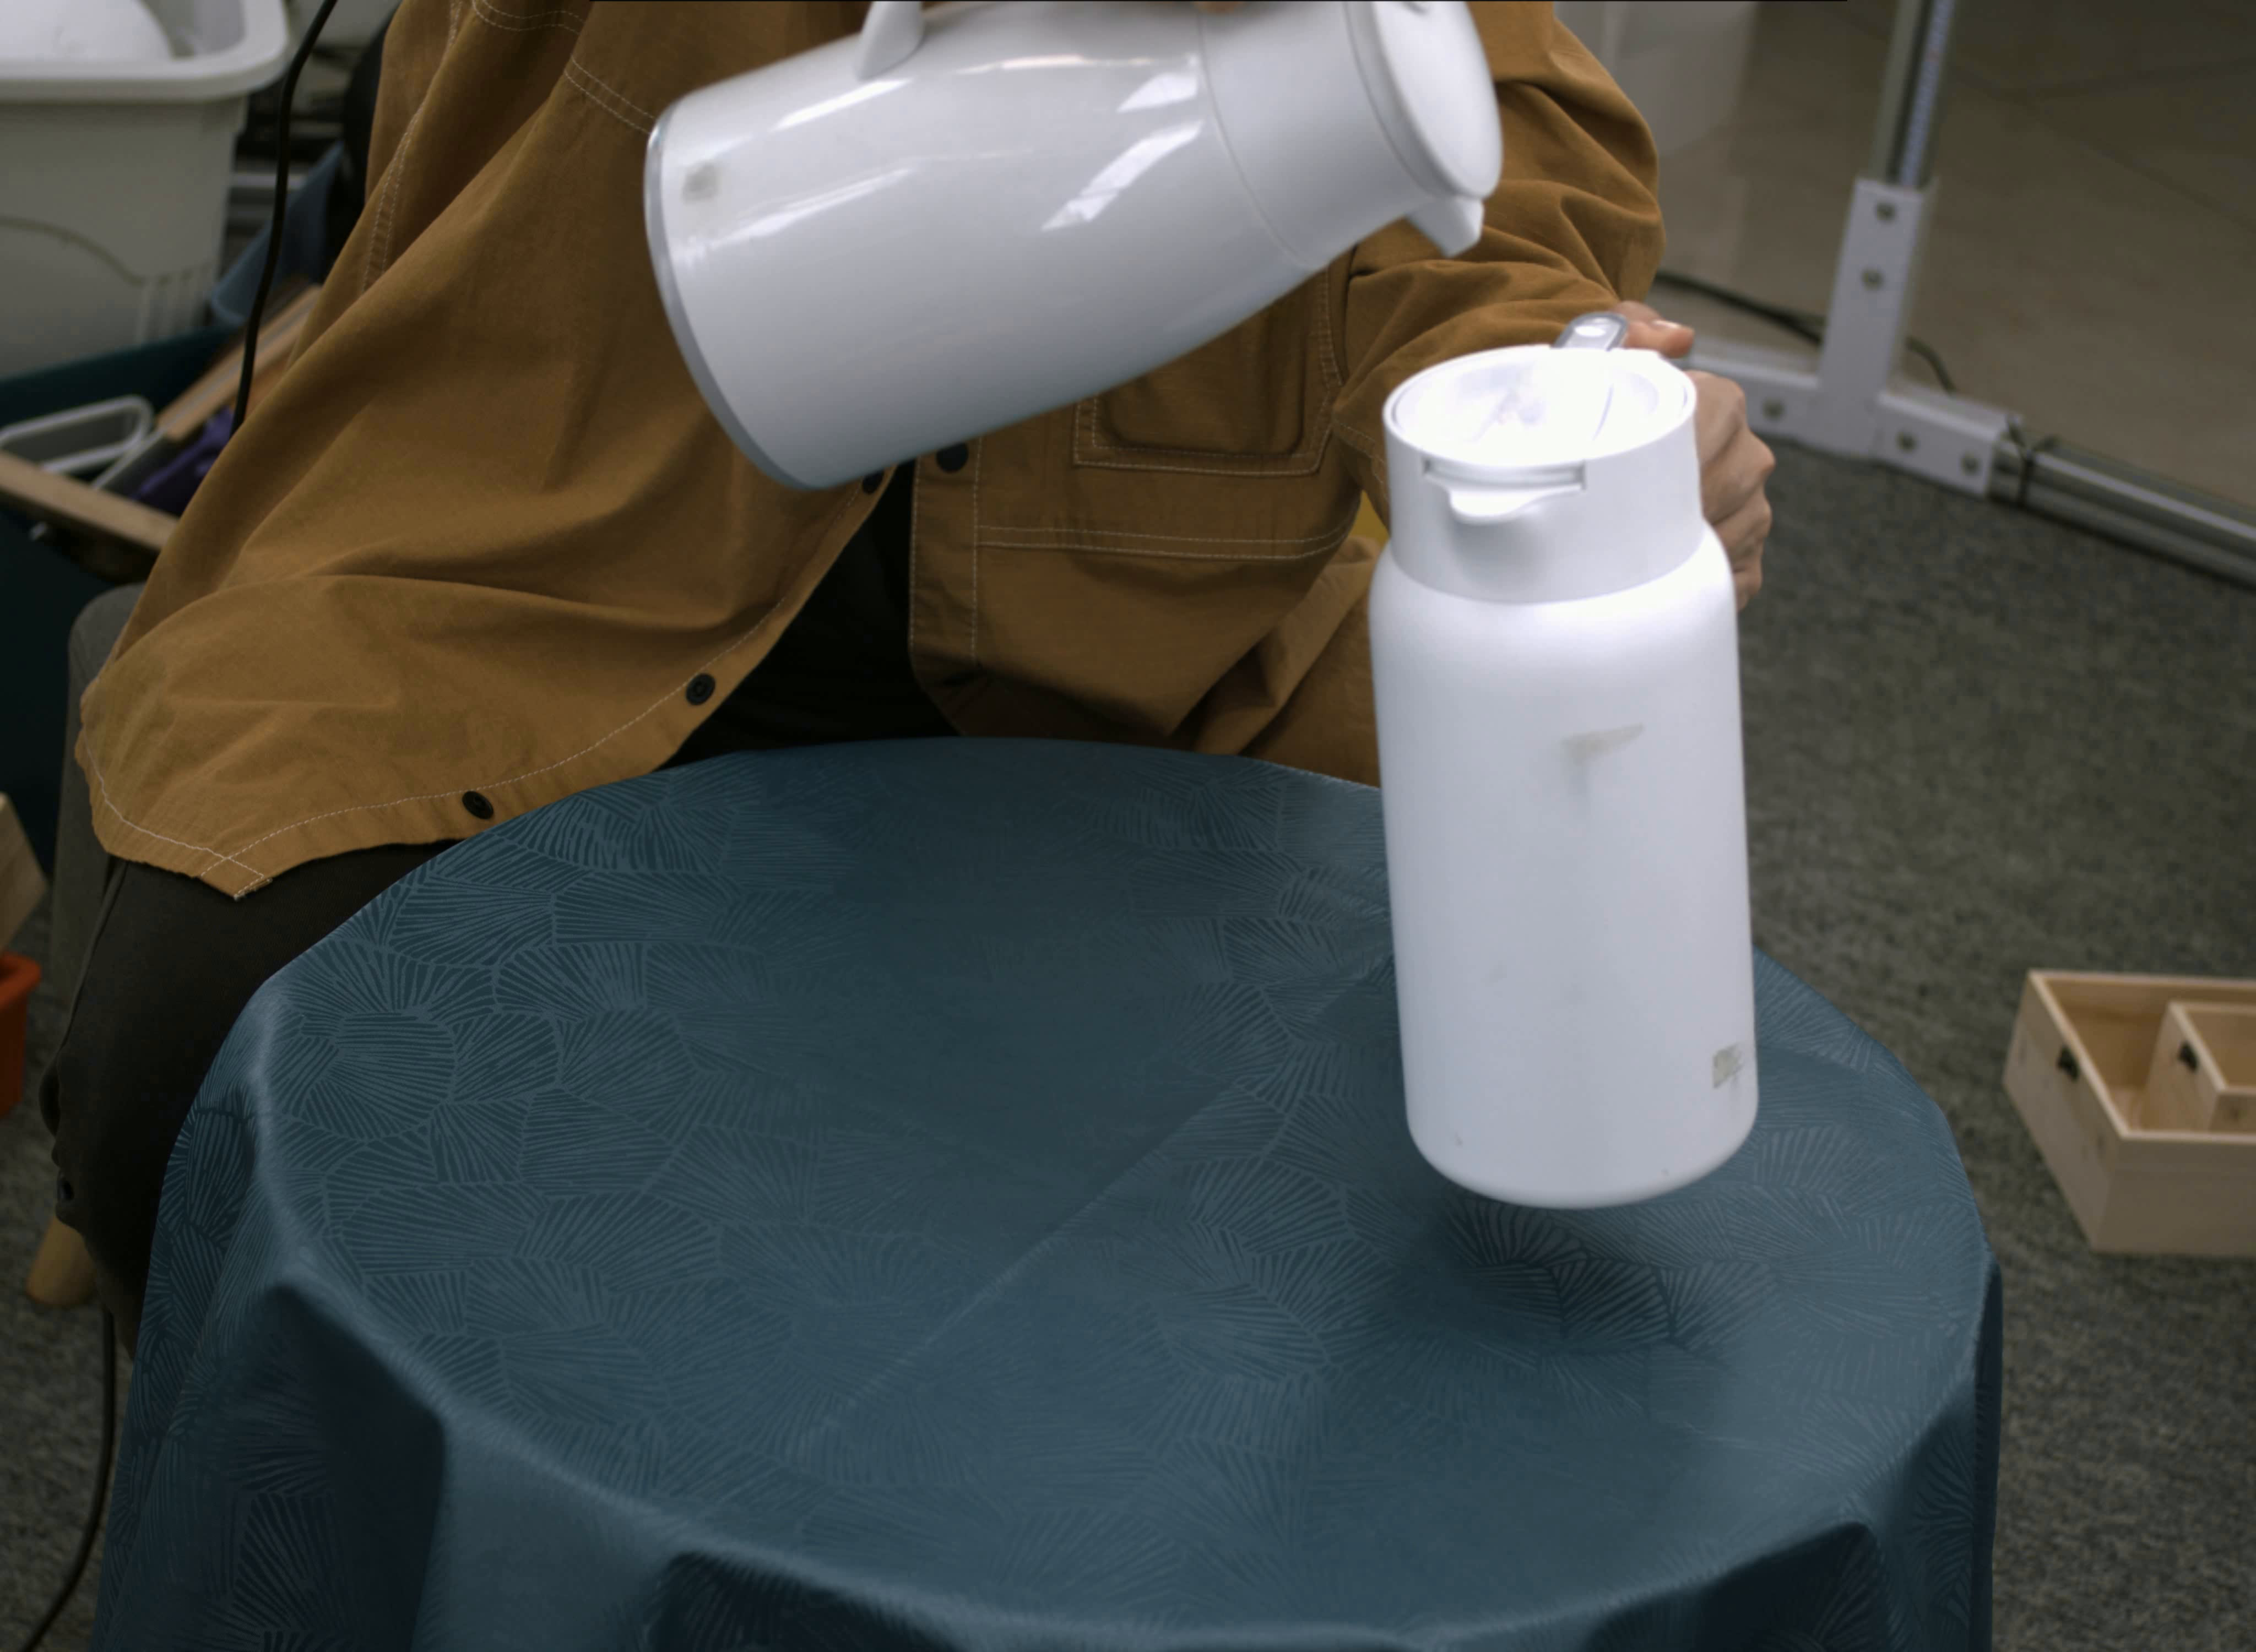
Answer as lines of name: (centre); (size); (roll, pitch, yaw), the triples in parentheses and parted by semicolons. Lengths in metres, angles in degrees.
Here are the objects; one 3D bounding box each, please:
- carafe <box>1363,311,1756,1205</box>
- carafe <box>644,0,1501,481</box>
carafe: (0.143, -0.025, 1.731); (0.124, 0.268, 0.173); (2, 27, 22)
carafe: (-0.019, -0.217, 1.630); (0.249, 0.166, 0.133); (-17, 35, 23)
